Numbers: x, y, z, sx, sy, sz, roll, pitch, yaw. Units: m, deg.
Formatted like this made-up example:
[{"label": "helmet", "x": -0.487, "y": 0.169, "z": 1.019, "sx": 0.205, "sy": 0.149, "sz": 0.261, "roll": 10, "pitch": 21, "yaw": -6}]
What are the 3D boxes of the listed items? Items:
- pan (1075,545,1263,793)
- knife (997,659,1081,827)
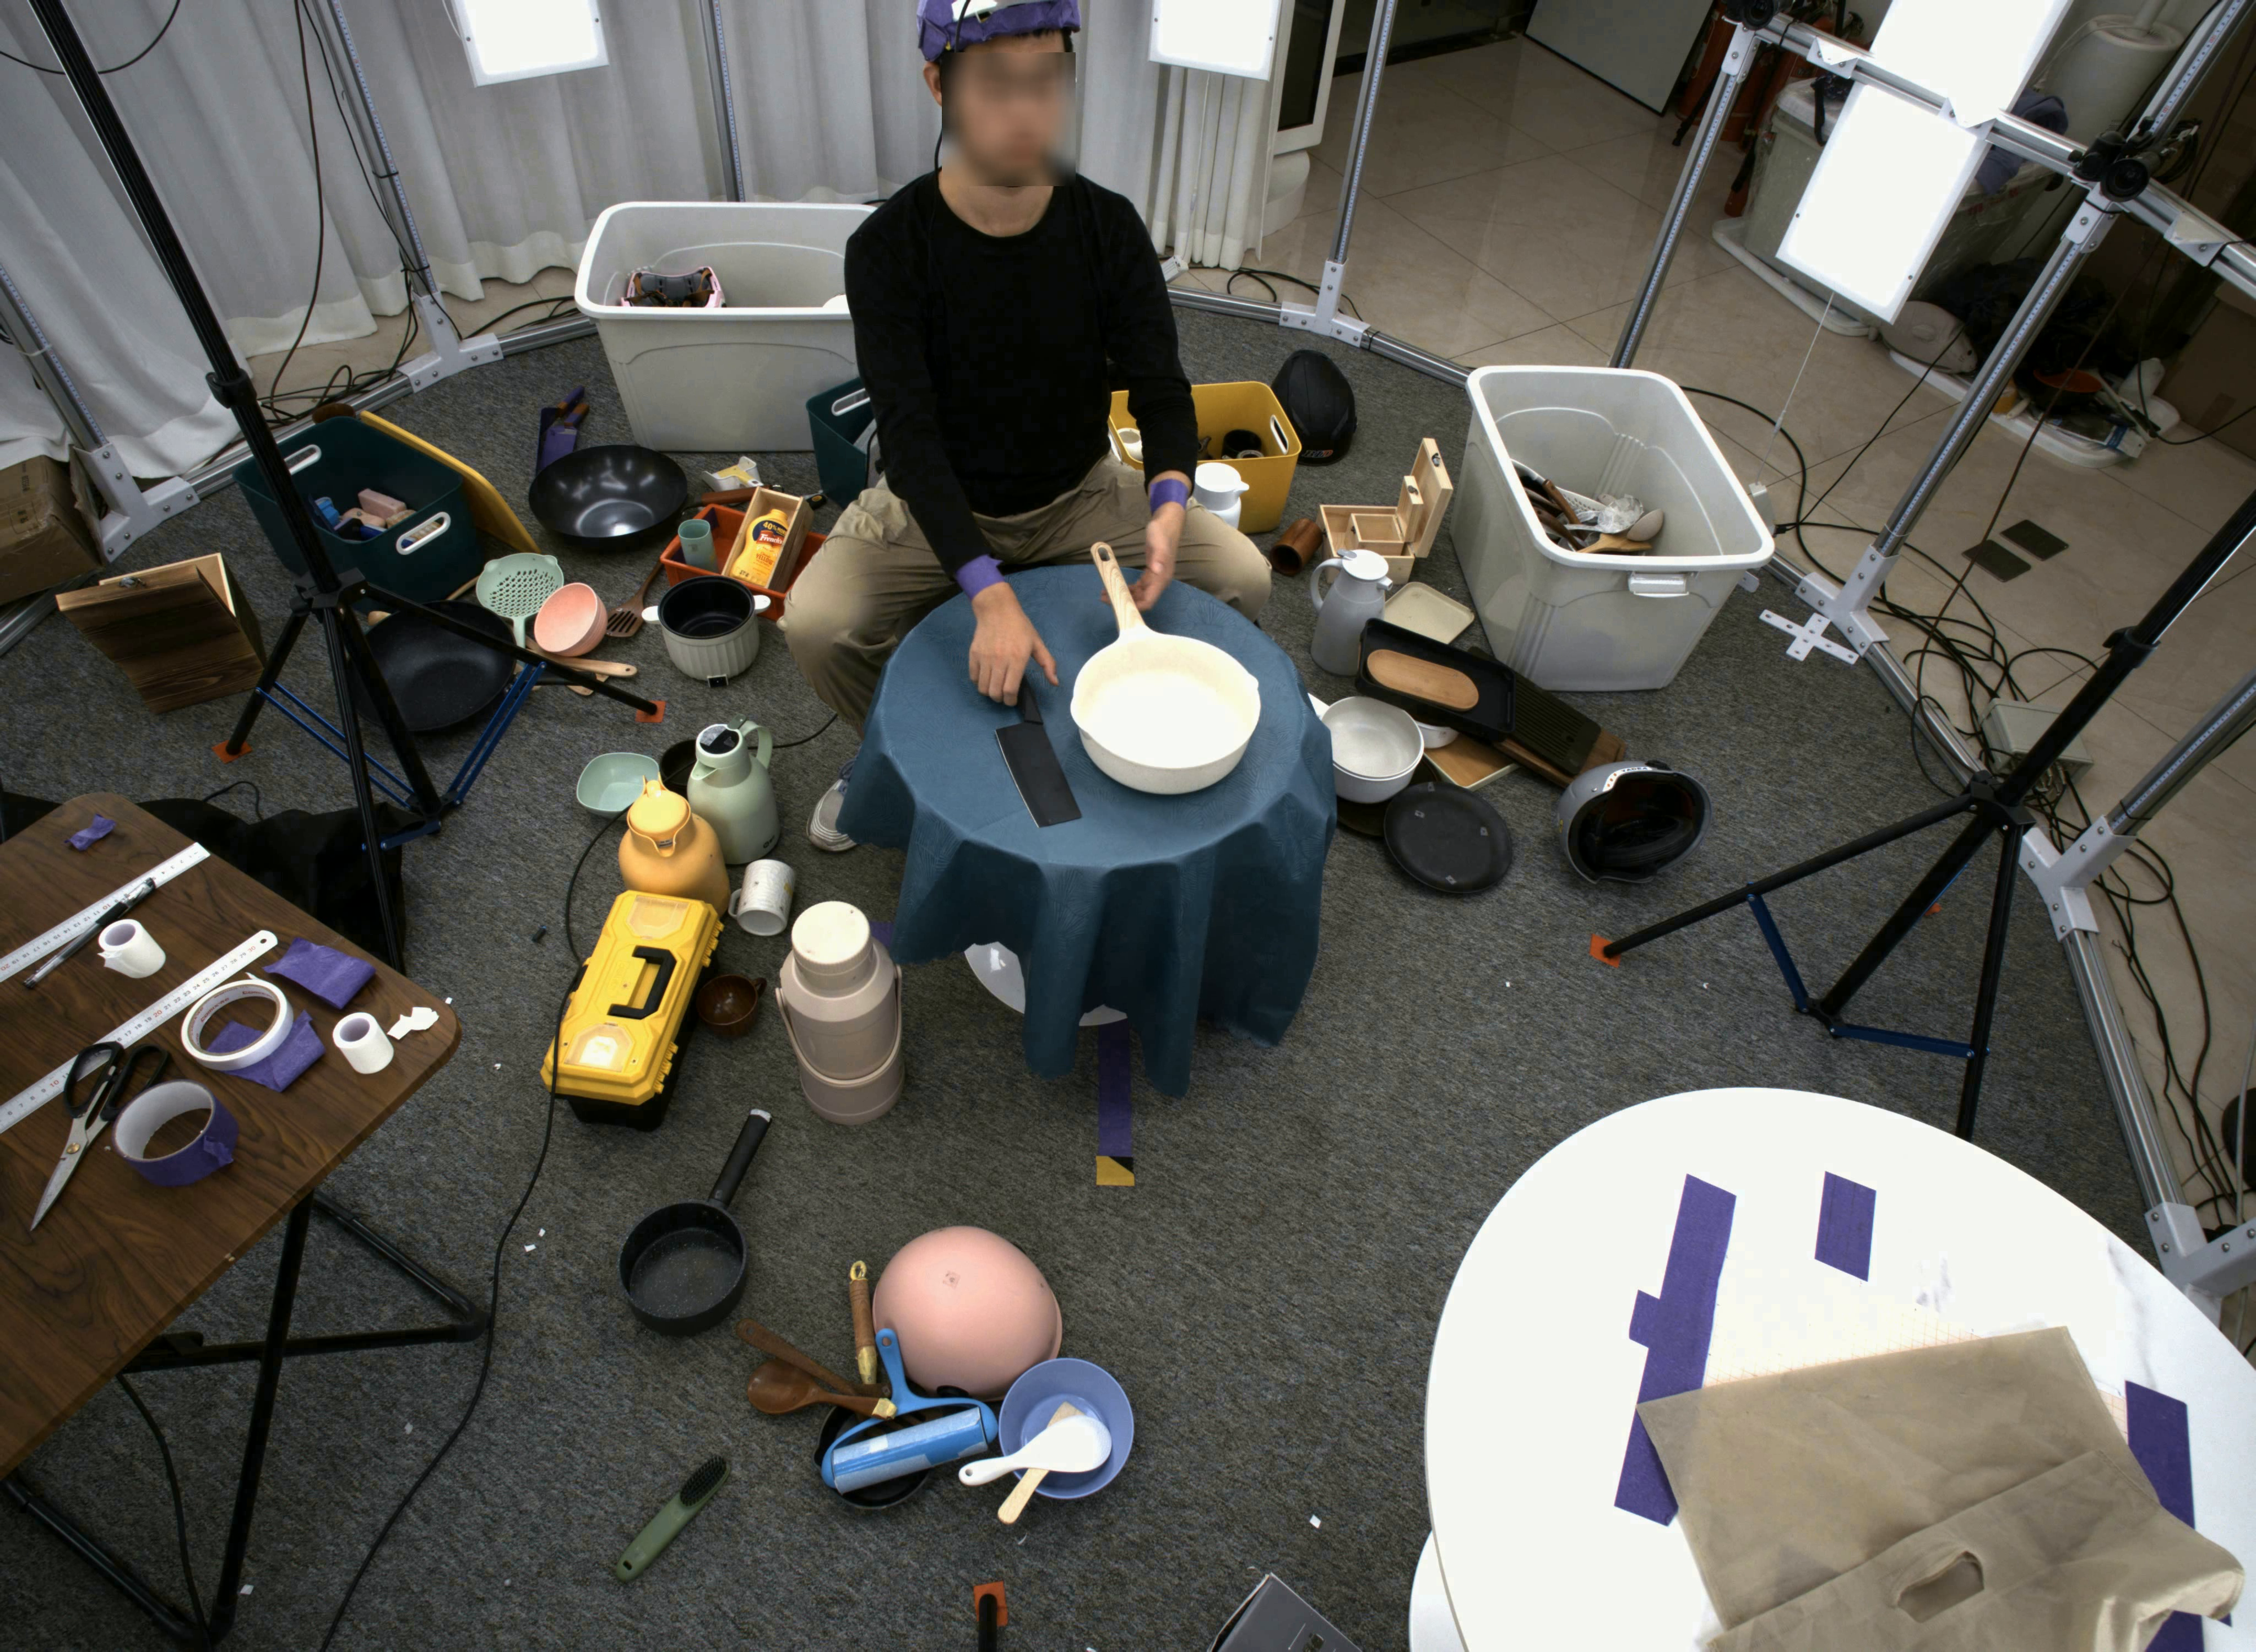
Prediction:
[{"label": "pan", "x": 0.025, "y": -0.221, "z": 1.799, "sx": 0.263, "sy": 0.099, "sz": 0.445, "roll": -14, "pitch": 51, "yaw": -13}, {"label": "knife", "x": -0.136, "y": -0.118, "z": 1.755, "sx": 0.081, "sy": 0.020, "sz": 0.310, "roll": -10, "pitch": 52, "yaw": -11}]
